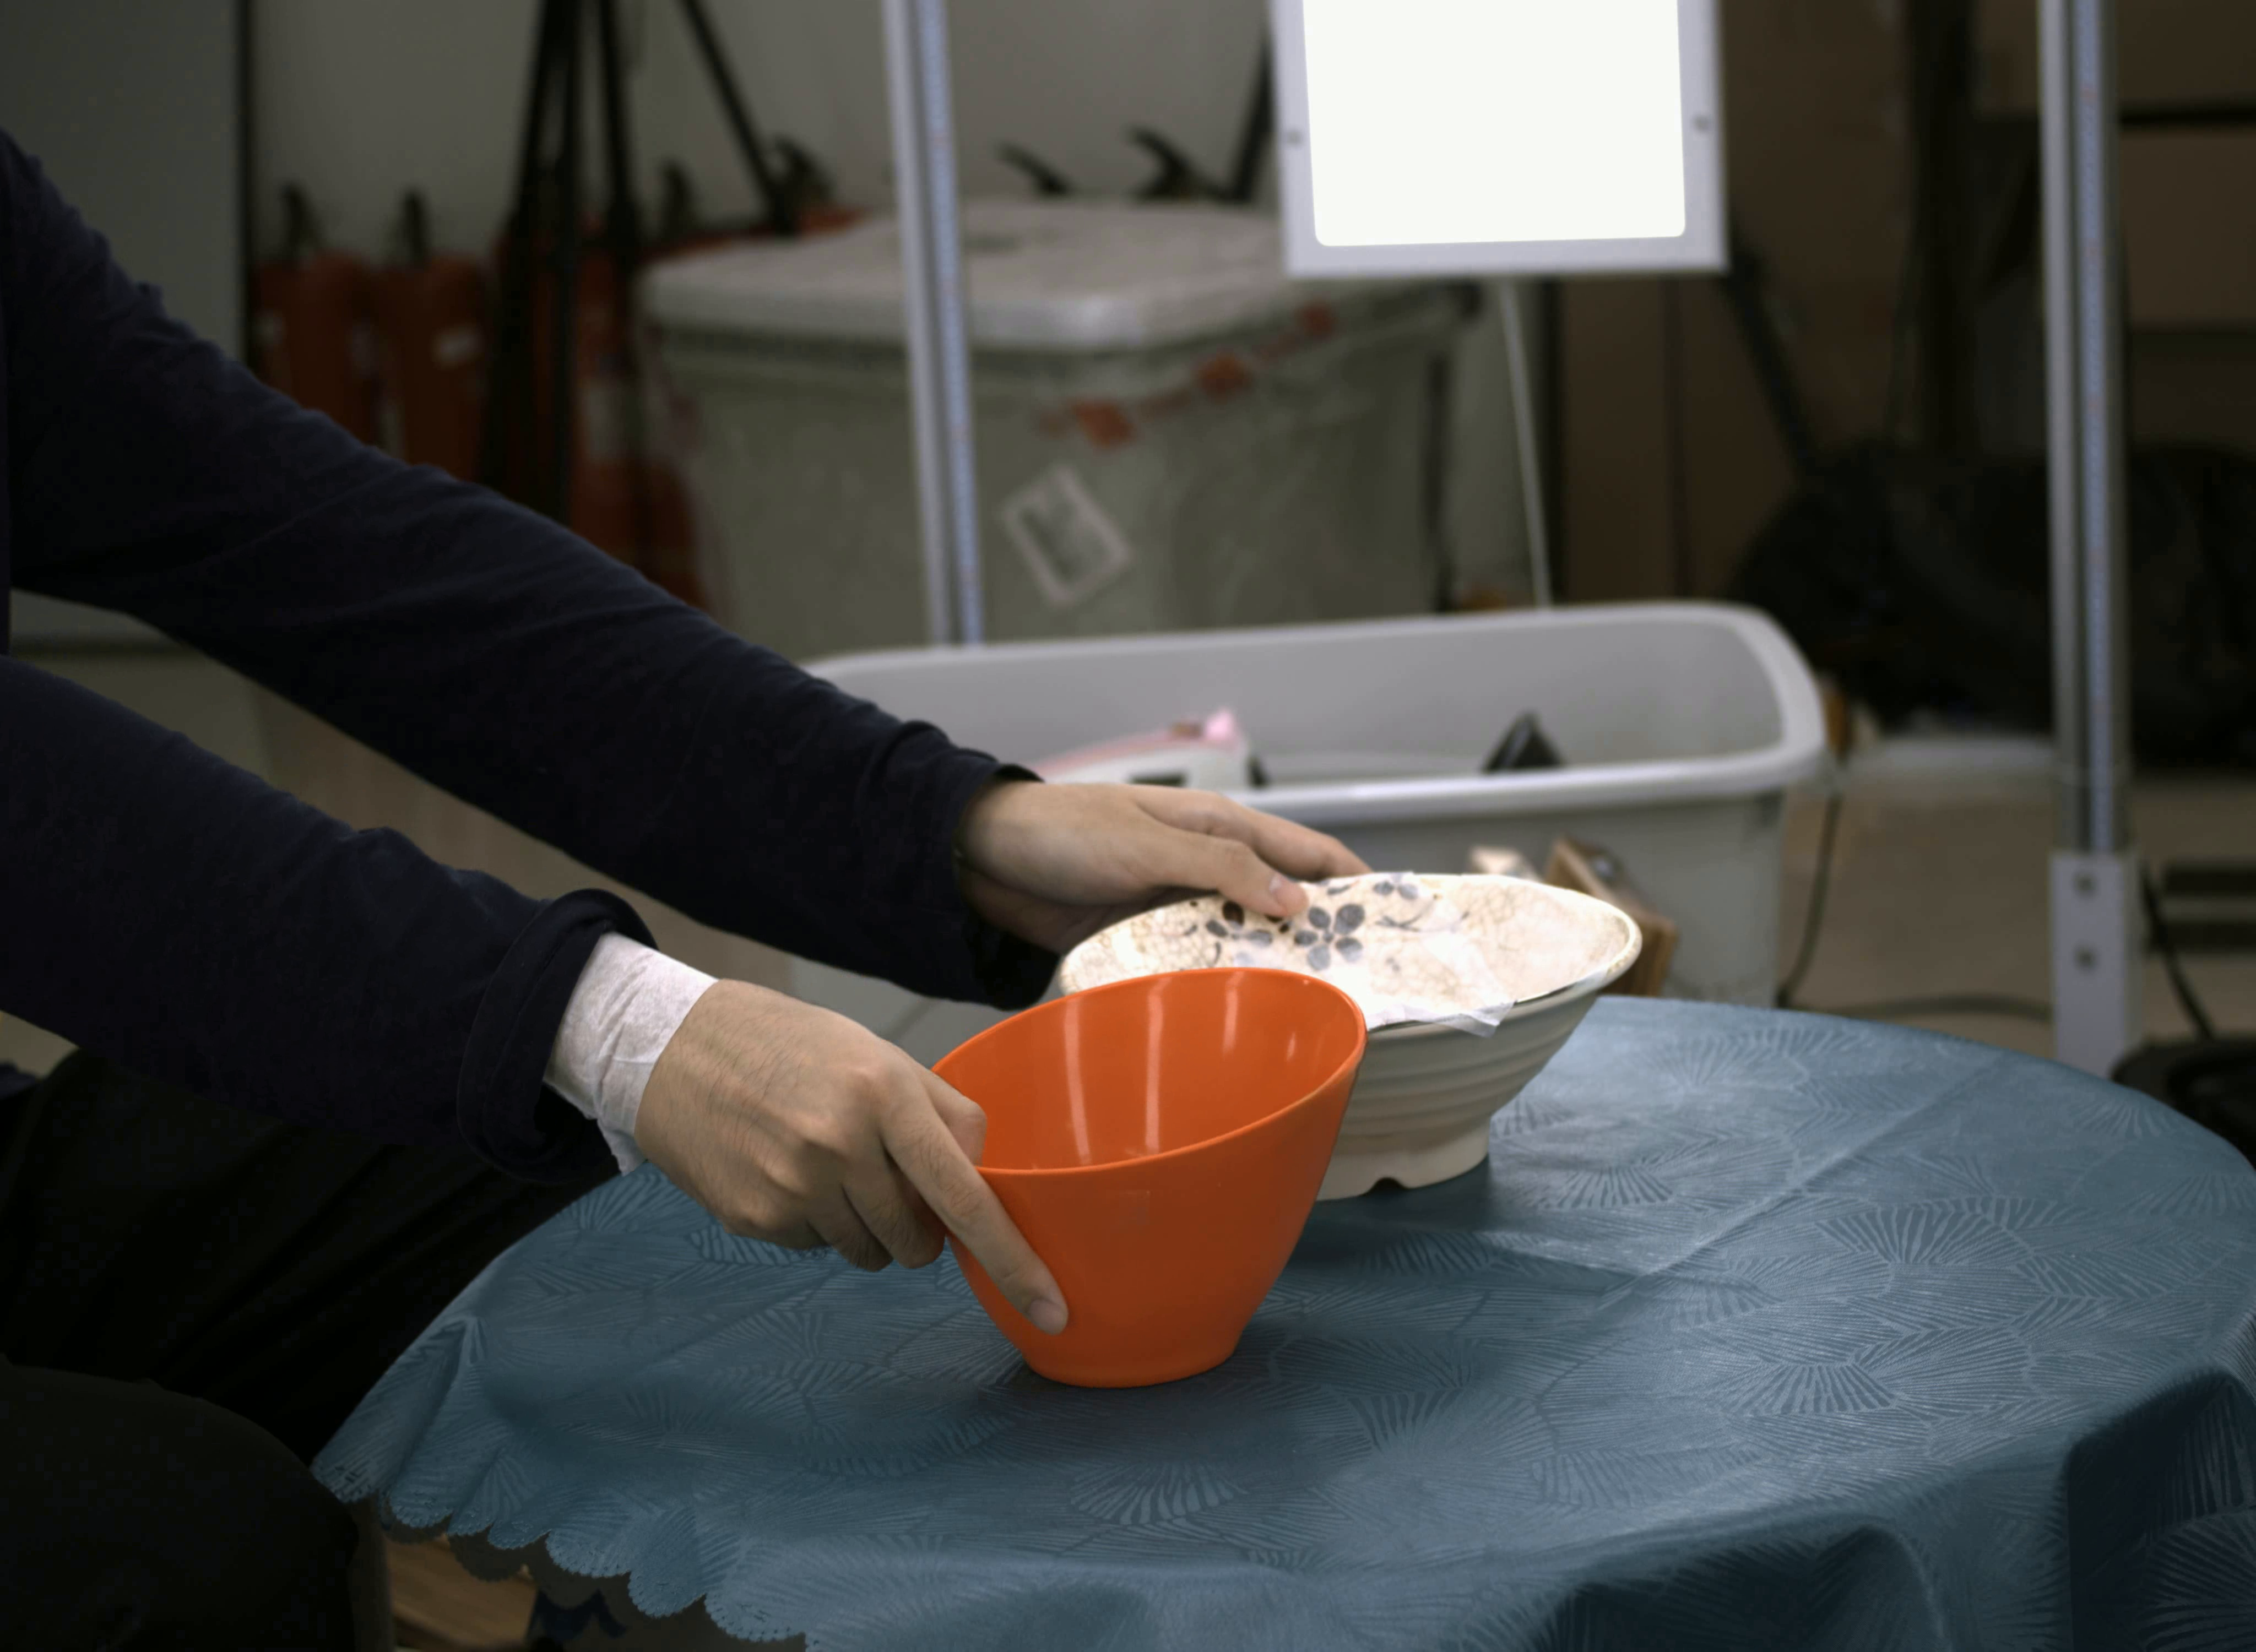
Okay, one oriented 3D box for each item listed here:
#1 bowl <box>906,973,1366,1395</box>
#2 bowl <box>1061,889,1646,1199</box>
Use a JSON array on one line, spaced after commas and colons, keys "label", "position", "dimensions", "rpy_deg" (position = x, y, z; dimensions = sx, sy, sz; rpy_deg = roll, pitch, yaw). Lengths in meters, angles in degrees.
[{"label": "bowl", "position": [0.007, 0.116, 1.733], "dimensions": [0.148, 0.105, 0.148], "rpy_deg": [-7, 14, 0]}, {"label": "bowl", "position": [0.082, 0.080, 1.904], "dimensions": [0.203, 0.078, 0.204], "rpy_deg": [-7, 11, 0]}]
